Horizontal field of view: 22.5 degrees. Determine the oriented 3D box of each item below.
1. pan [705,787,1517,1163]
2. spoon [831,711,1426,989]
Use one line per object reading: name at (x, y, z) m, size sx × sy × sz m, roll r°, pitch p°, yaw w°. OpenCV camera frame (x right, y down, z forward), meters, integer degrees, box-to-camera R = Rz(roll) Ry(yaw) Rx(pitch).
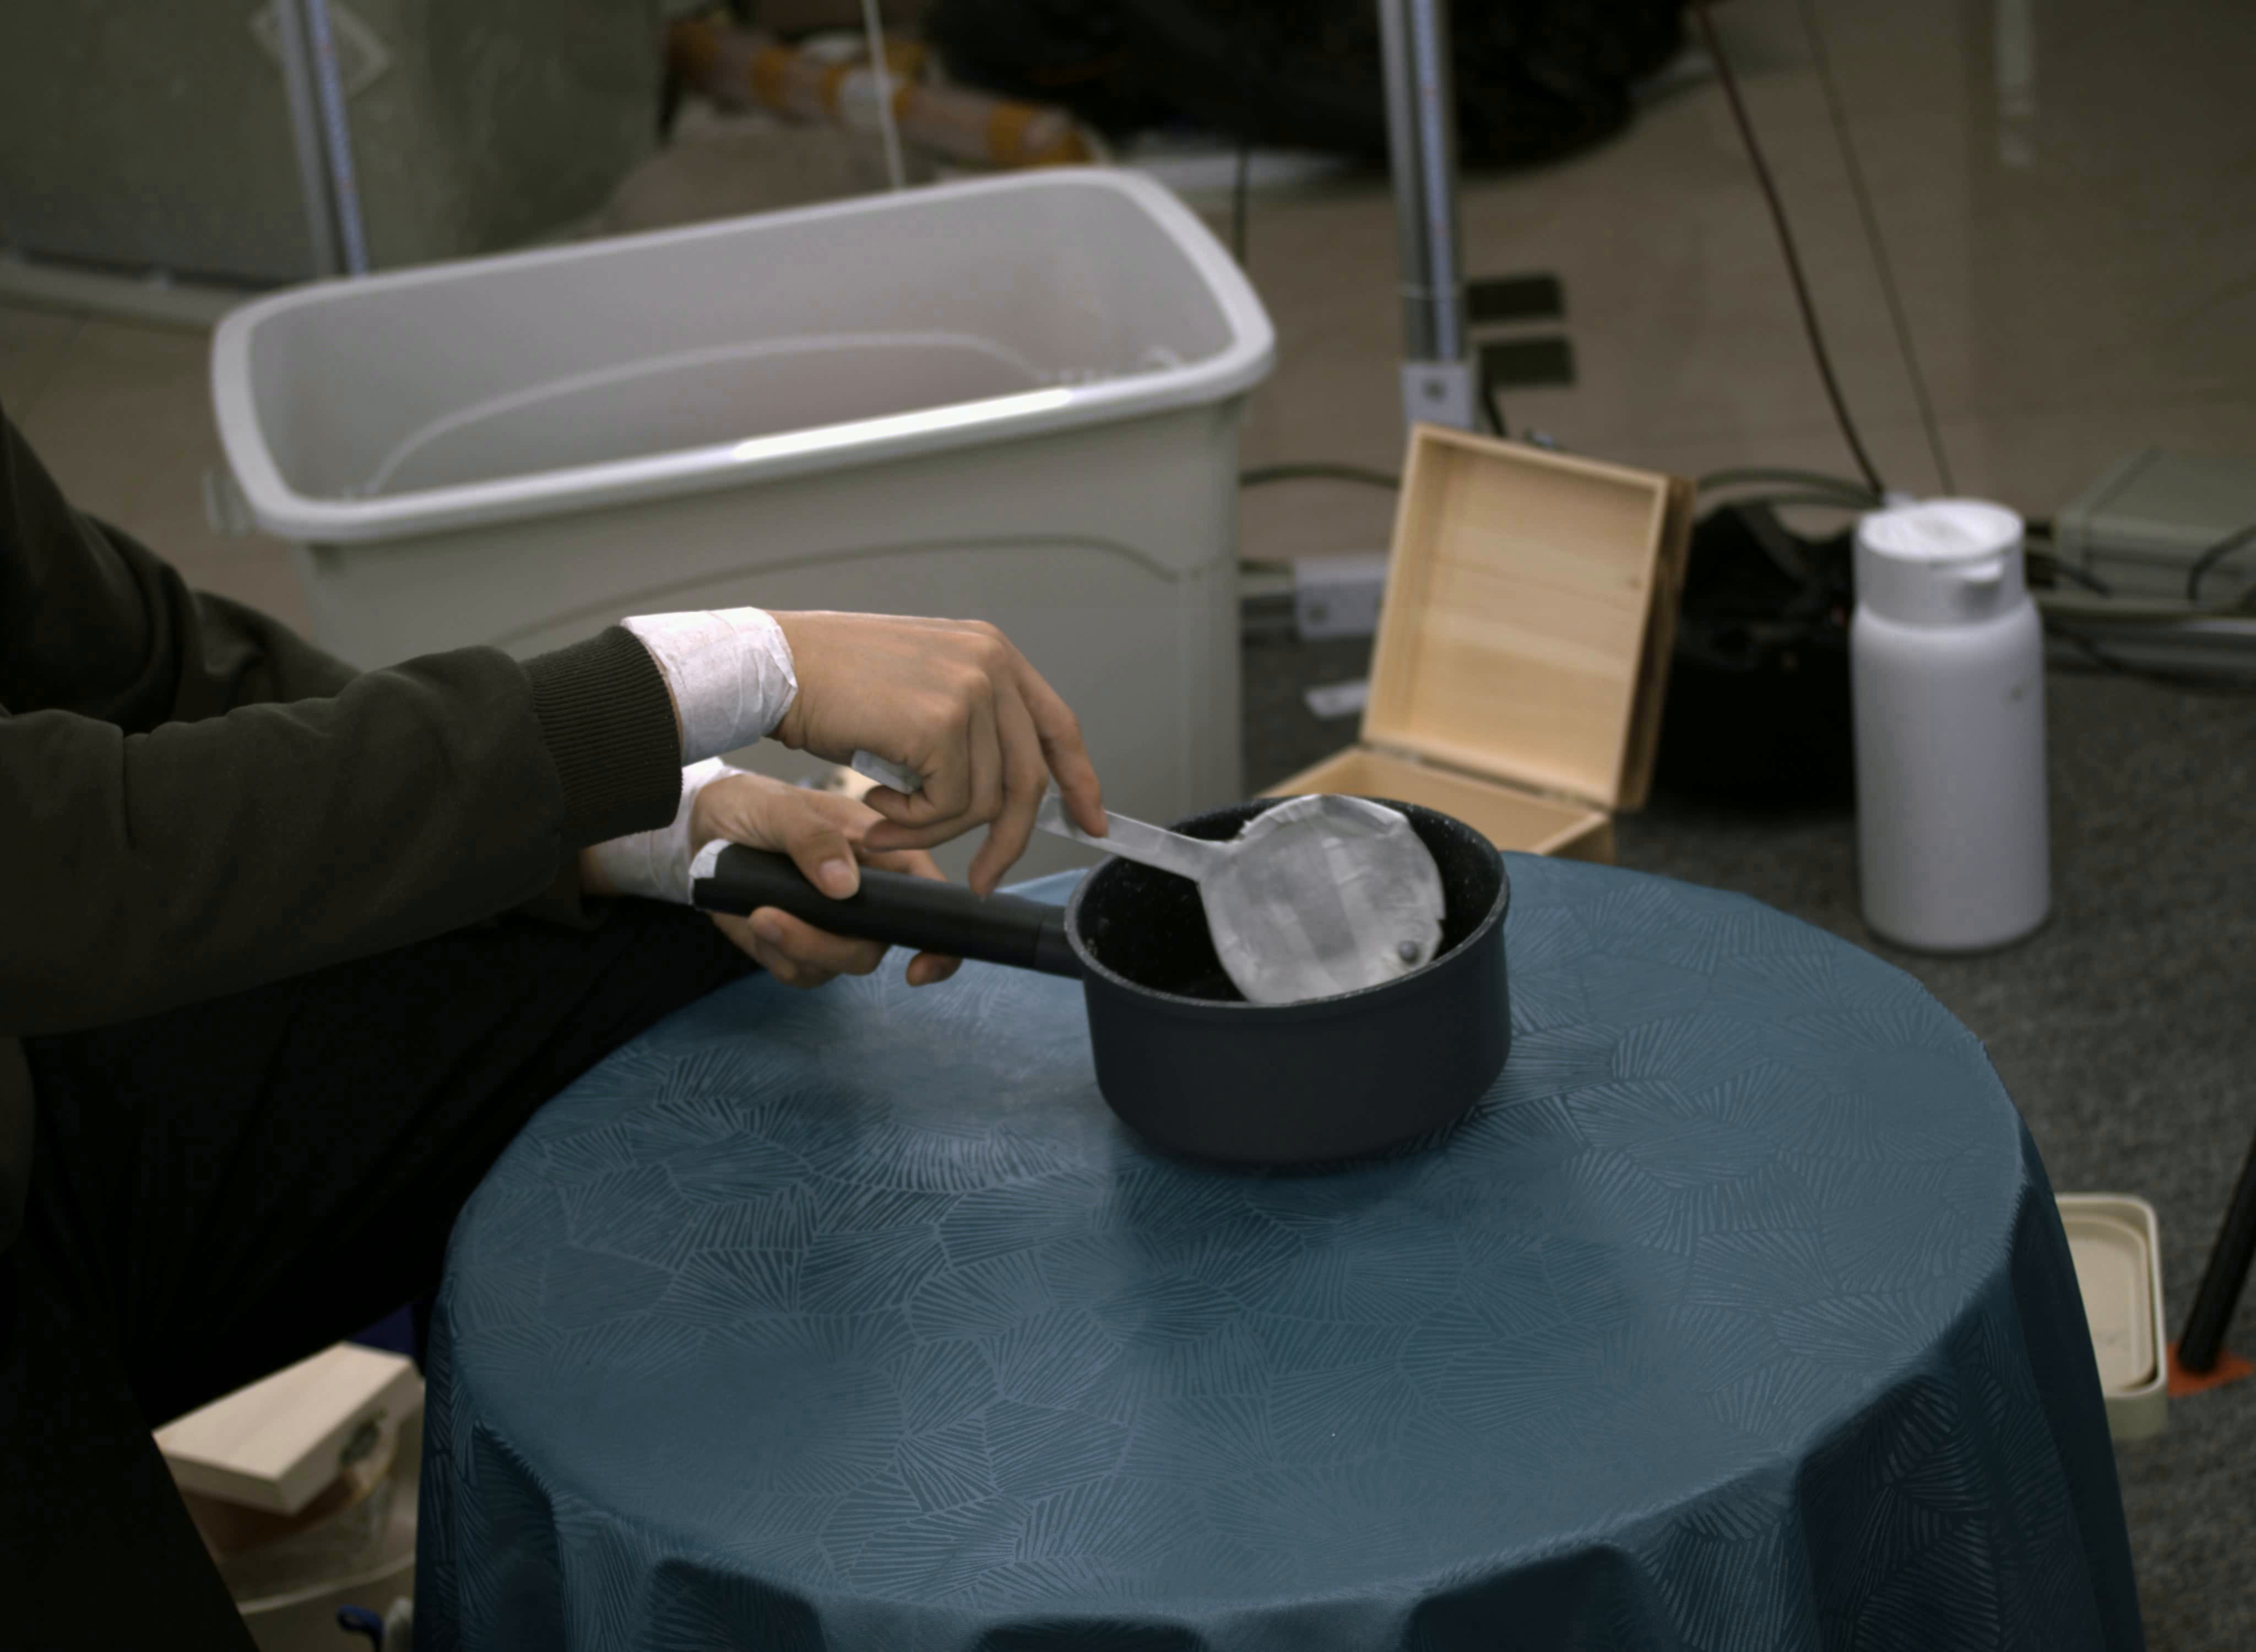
pan at (-0.008, 0.052, 2.216) m, size 0.328 × 0.088 × 0.169 m, roll 4°, pitch 29°, yaw 18°
spoon at (0.005, -0.002, 2.152) m, size 0.279 × 0.101 × 0.059 m, roll 20°, pitch -2°, yaw -44°
